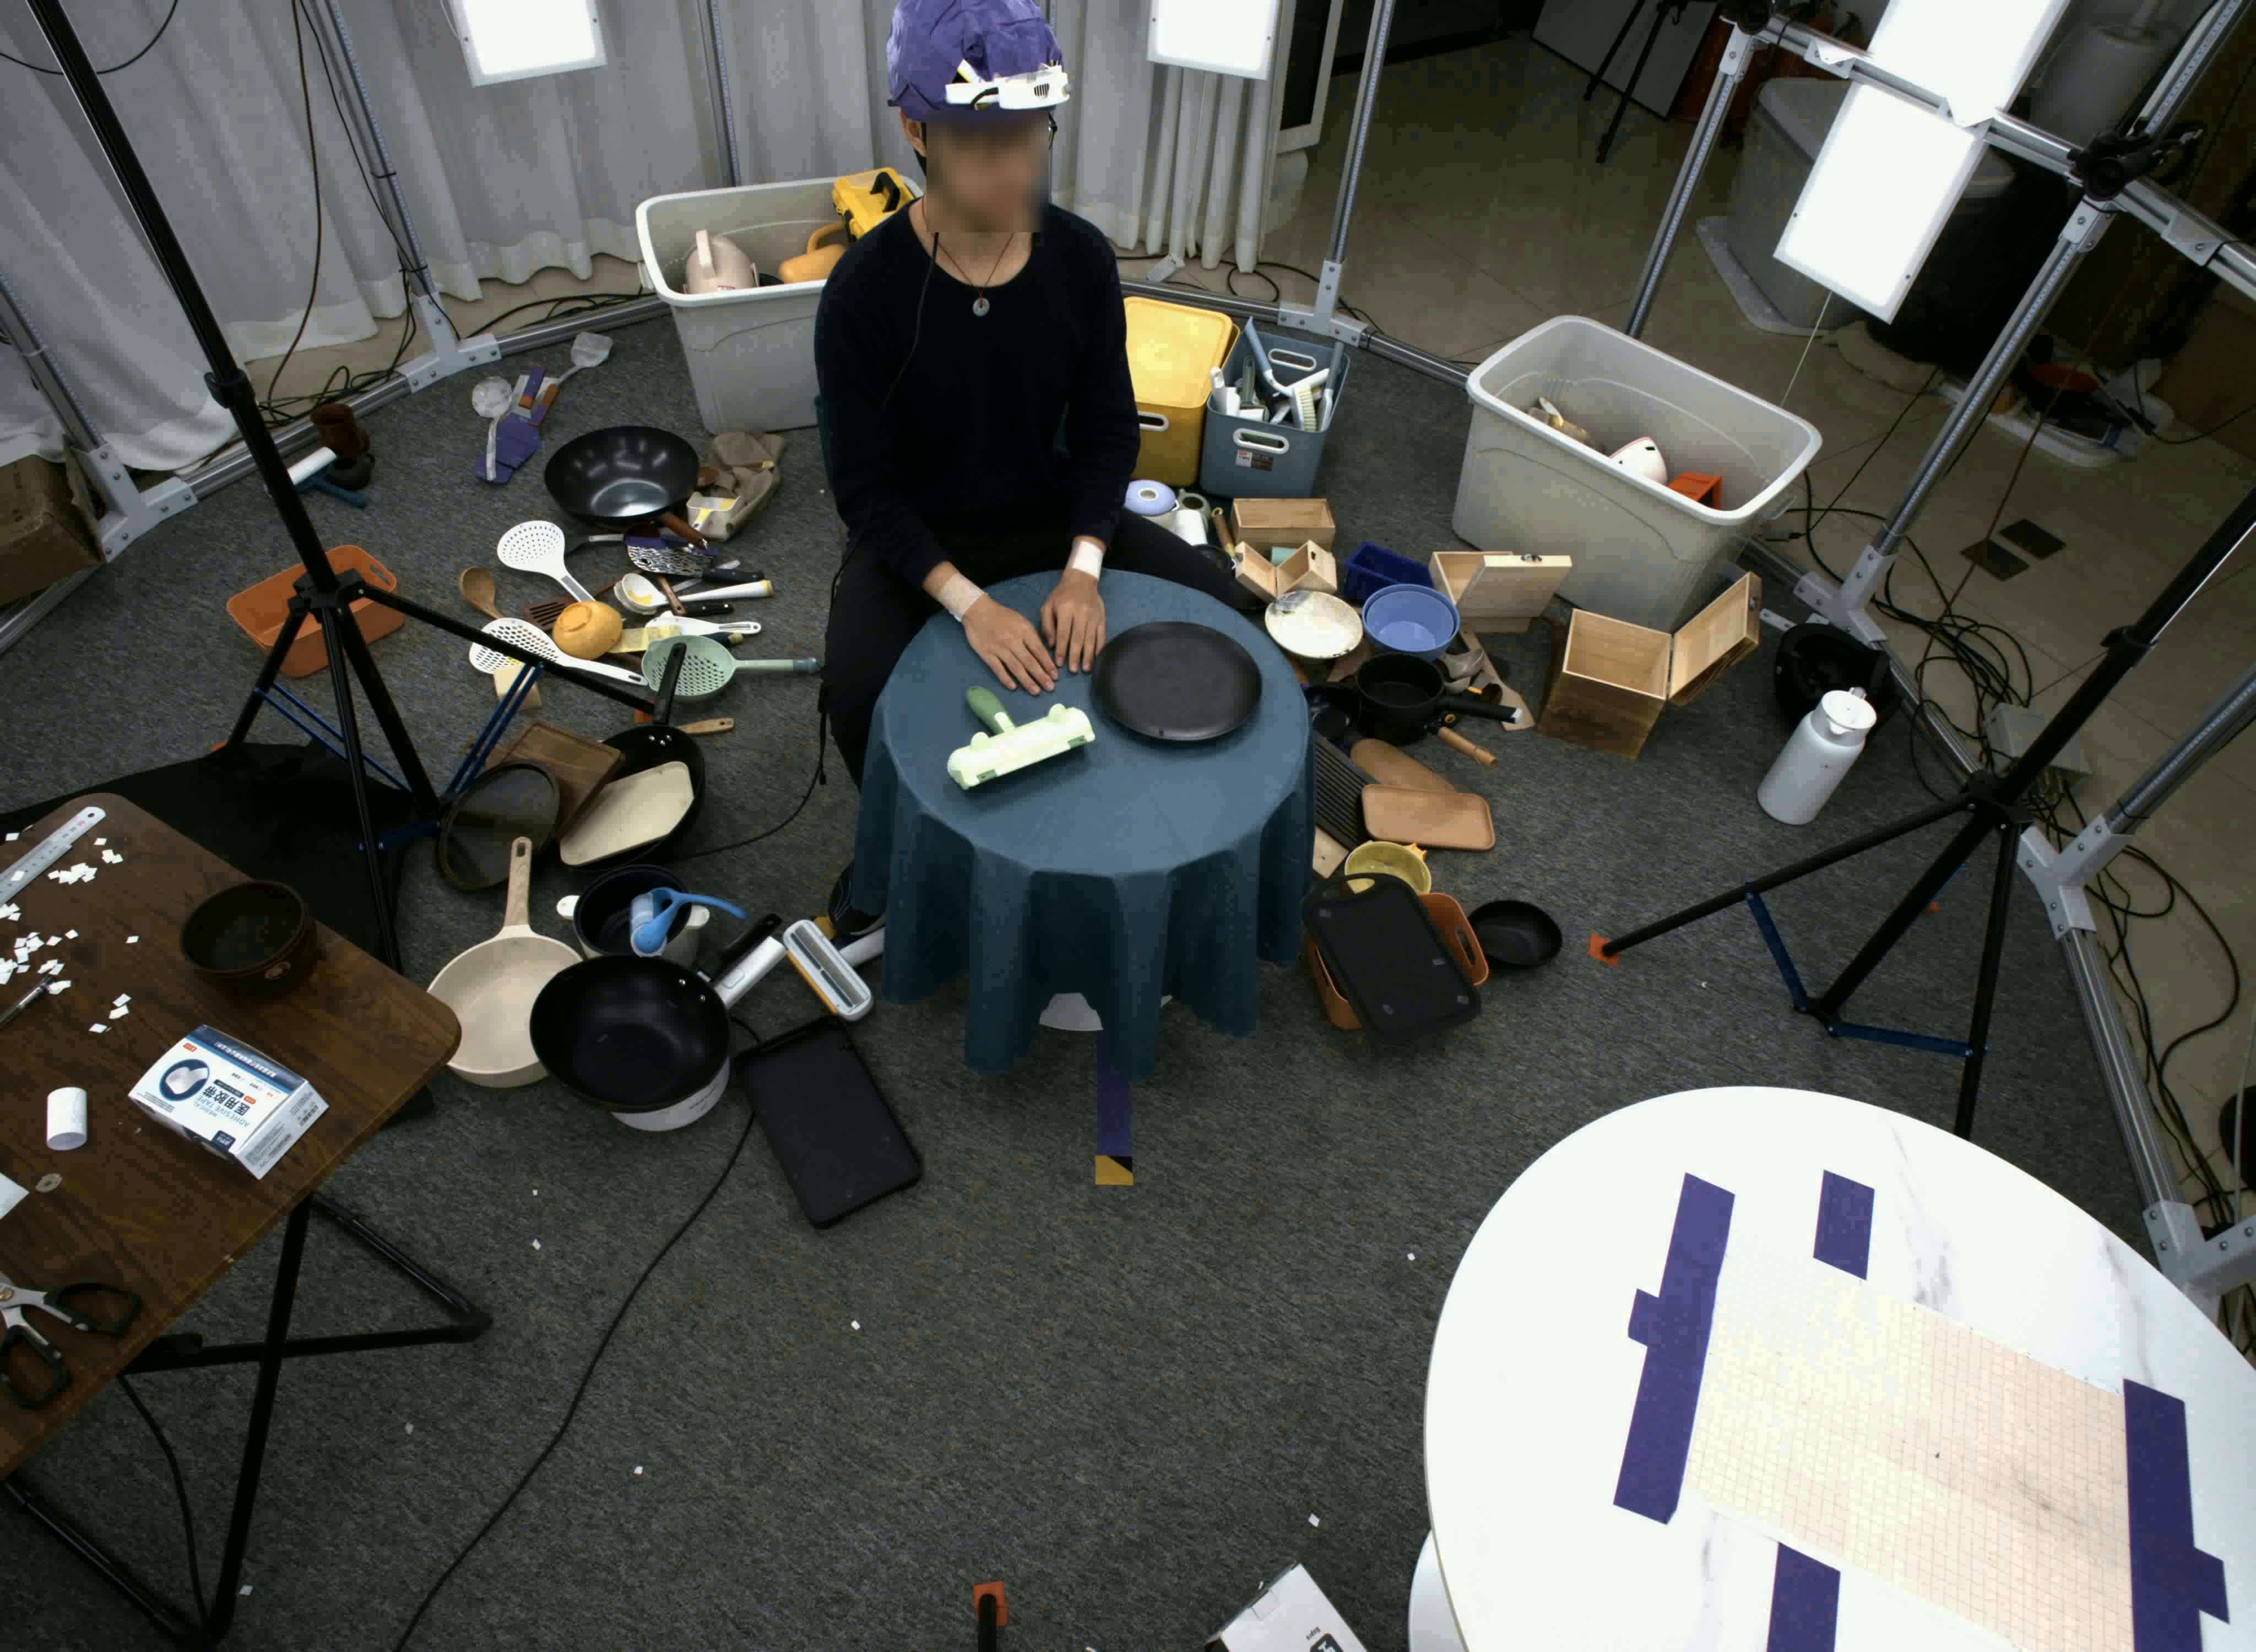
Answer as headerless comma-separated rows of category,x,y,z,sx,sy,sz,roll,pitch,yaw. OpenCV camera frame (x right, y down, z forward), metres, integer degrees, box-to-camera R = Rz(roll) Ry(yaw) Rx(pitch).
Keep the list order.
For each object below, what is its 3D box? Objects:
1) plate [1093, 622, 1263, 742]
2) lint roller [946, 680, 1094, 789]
plate,0.071,-0.203,1.834,0.244,0.023,0.250,2,49,-2
lint roller,-0.171,-0.151,1.733,0.199,0.080,0.187,-22,60,-23
